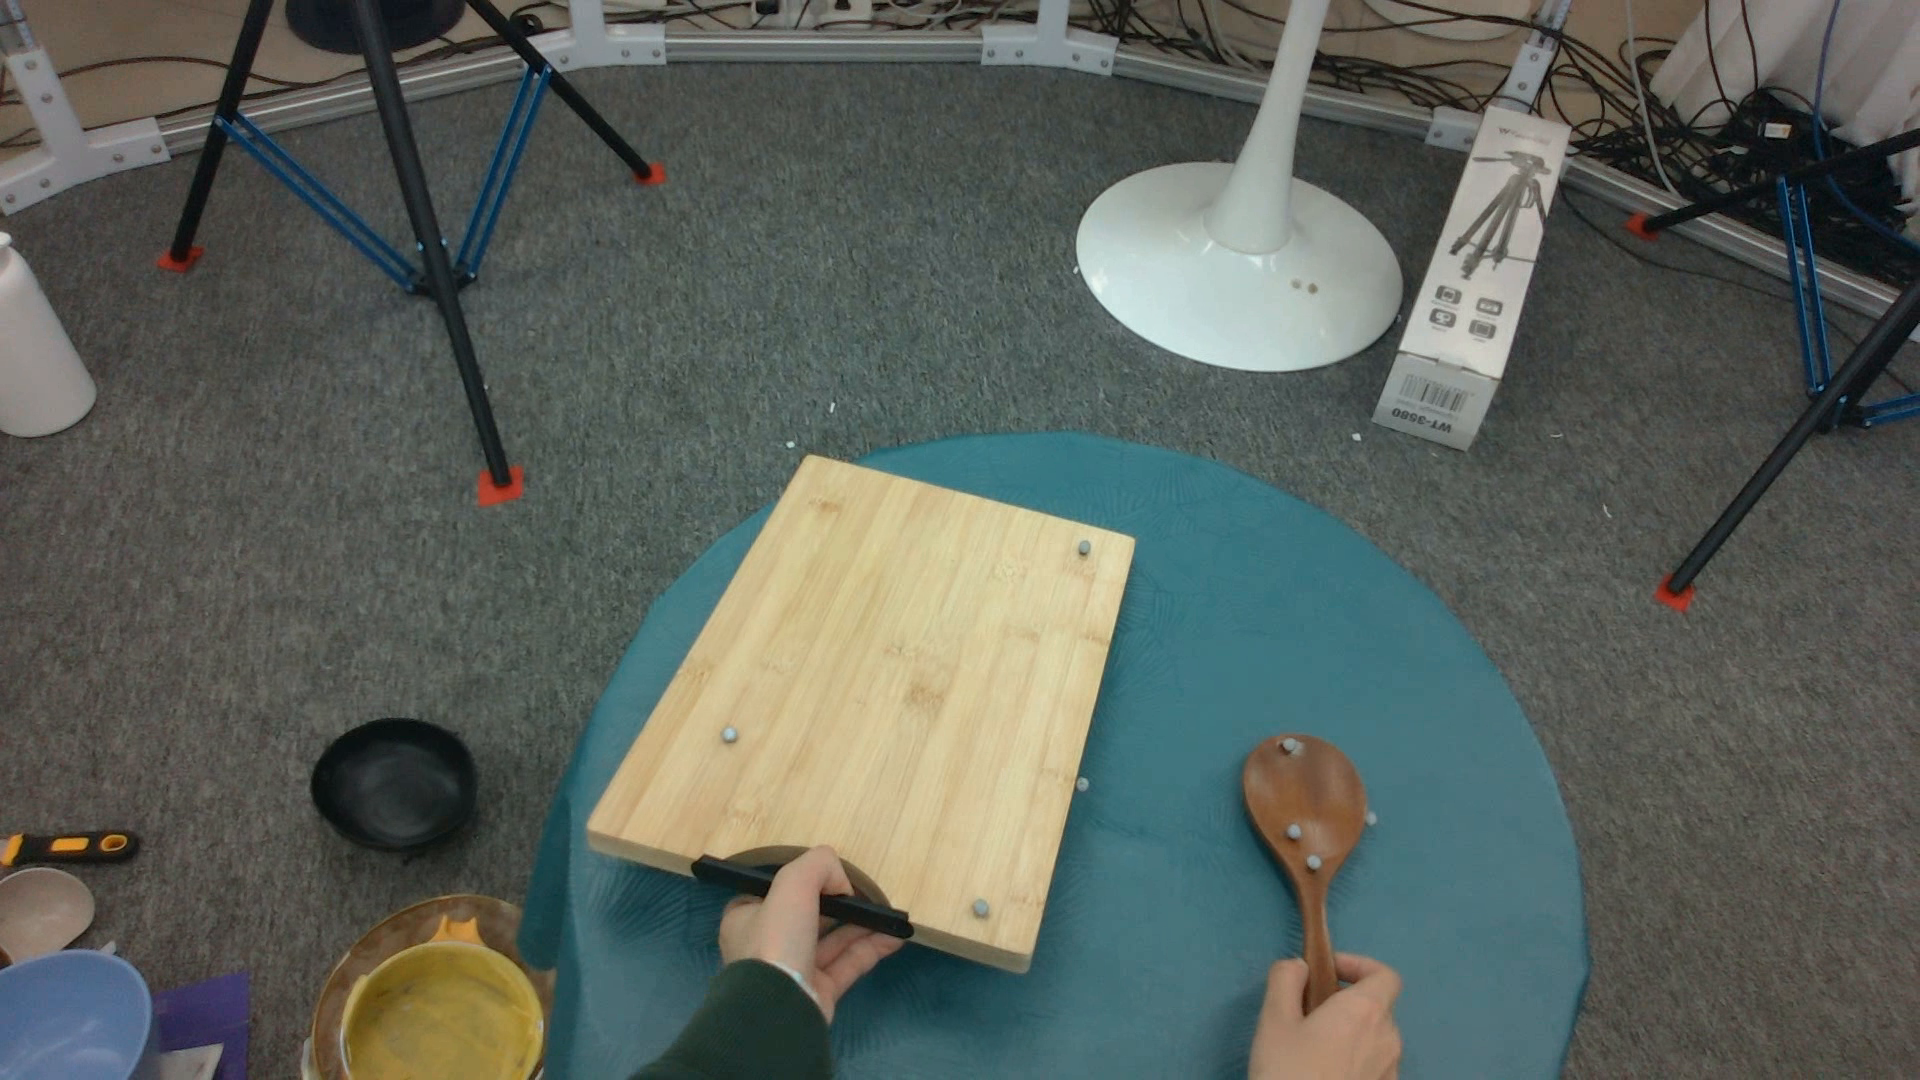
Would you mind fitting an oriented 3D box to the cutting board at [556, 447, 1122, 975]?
[{"bbox_3d":[-0.049,0.078,0.827,0.250,0.023,0.350,14,41,6],"label":"cutting board"}]

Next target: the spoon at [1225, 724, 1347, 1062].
[{"bbox_3d":[0.189,0.192,0.781,0.075,0.017,0.217,9,43,-1],"label":"spoon"}]
